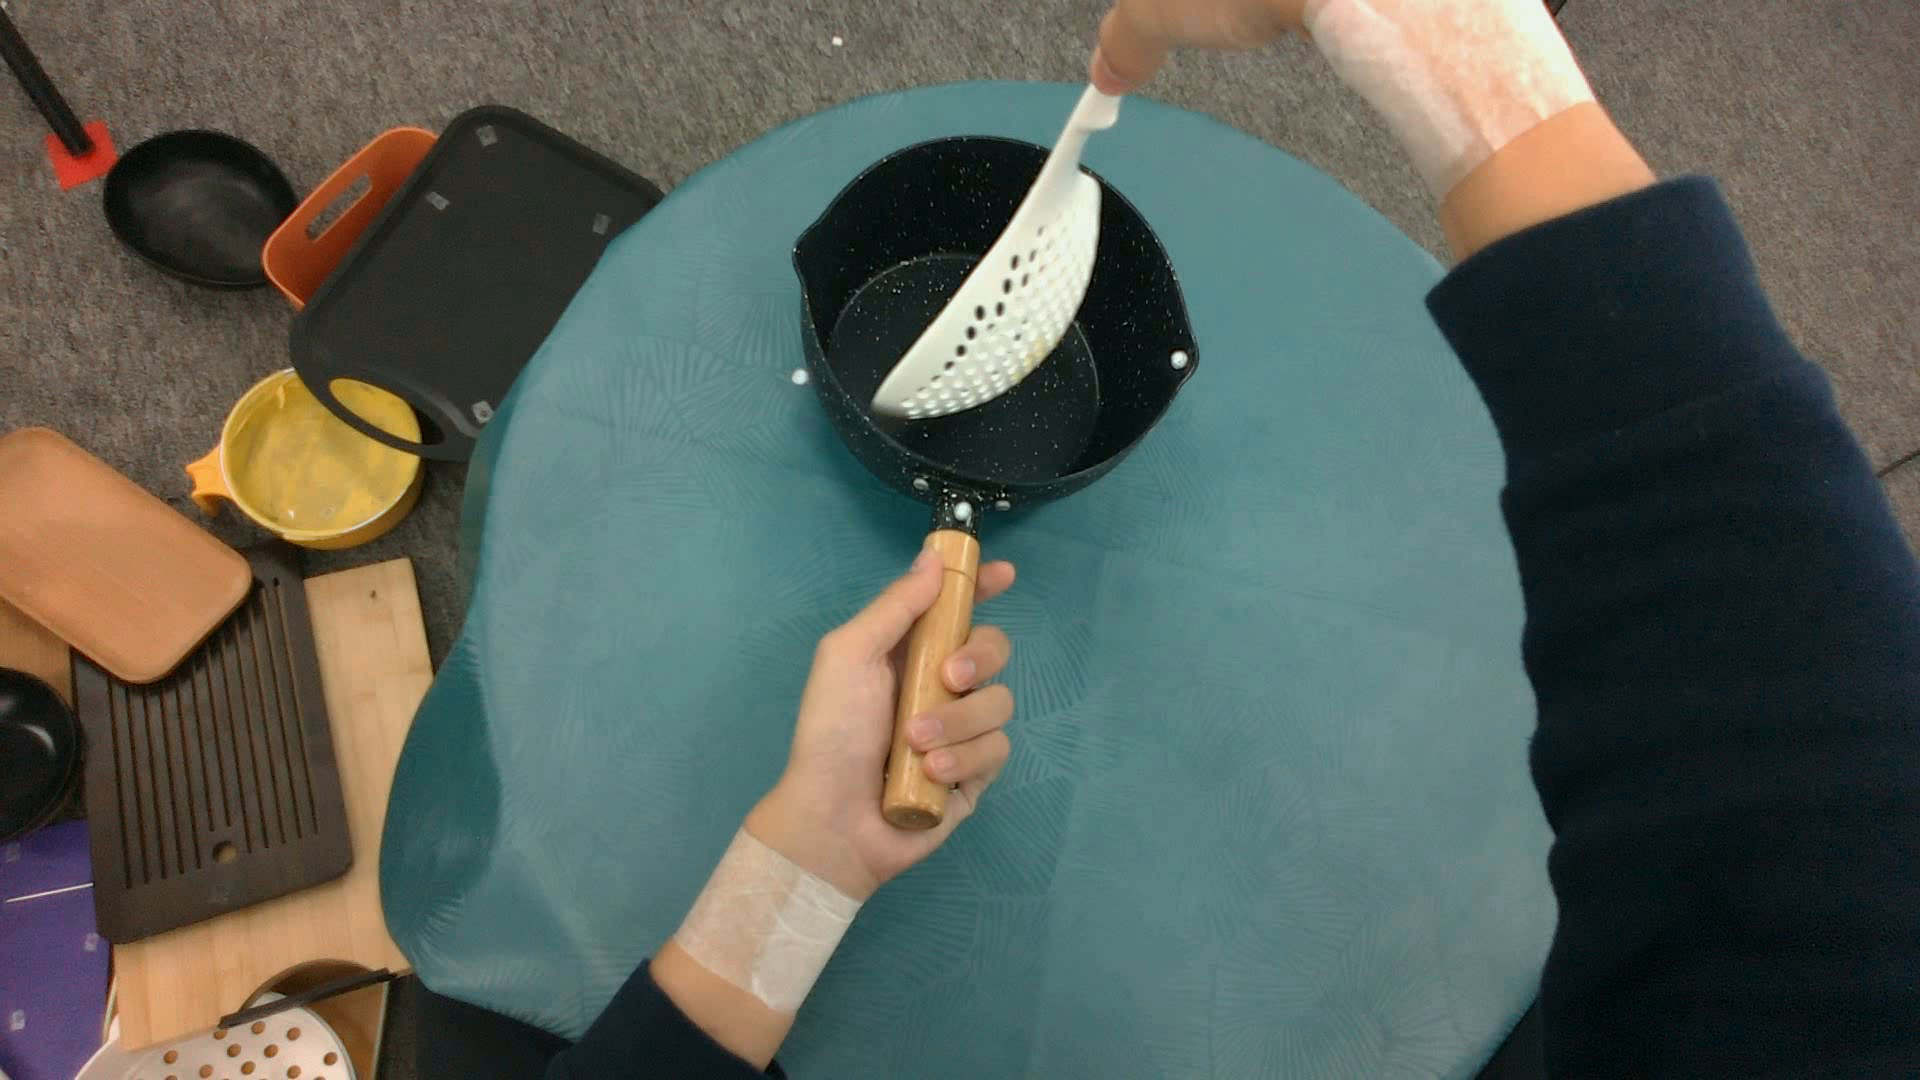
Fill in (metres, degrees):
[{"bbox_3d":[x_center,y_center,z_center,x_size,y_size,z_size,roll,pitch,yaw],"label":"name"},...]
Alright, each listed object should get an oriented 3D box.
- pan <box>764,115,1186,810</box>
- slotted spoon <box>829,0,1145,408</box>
[{"bbox_3d":[-0.006,-0.037,0.643,0.207,0.108,0.344,12,67,-10],"label":"pan"},{"bbox_3d":[0.028,-0.136,0.527,0.050,0.346,0.137,44,67,5],"label":"slotted spoon"}]
